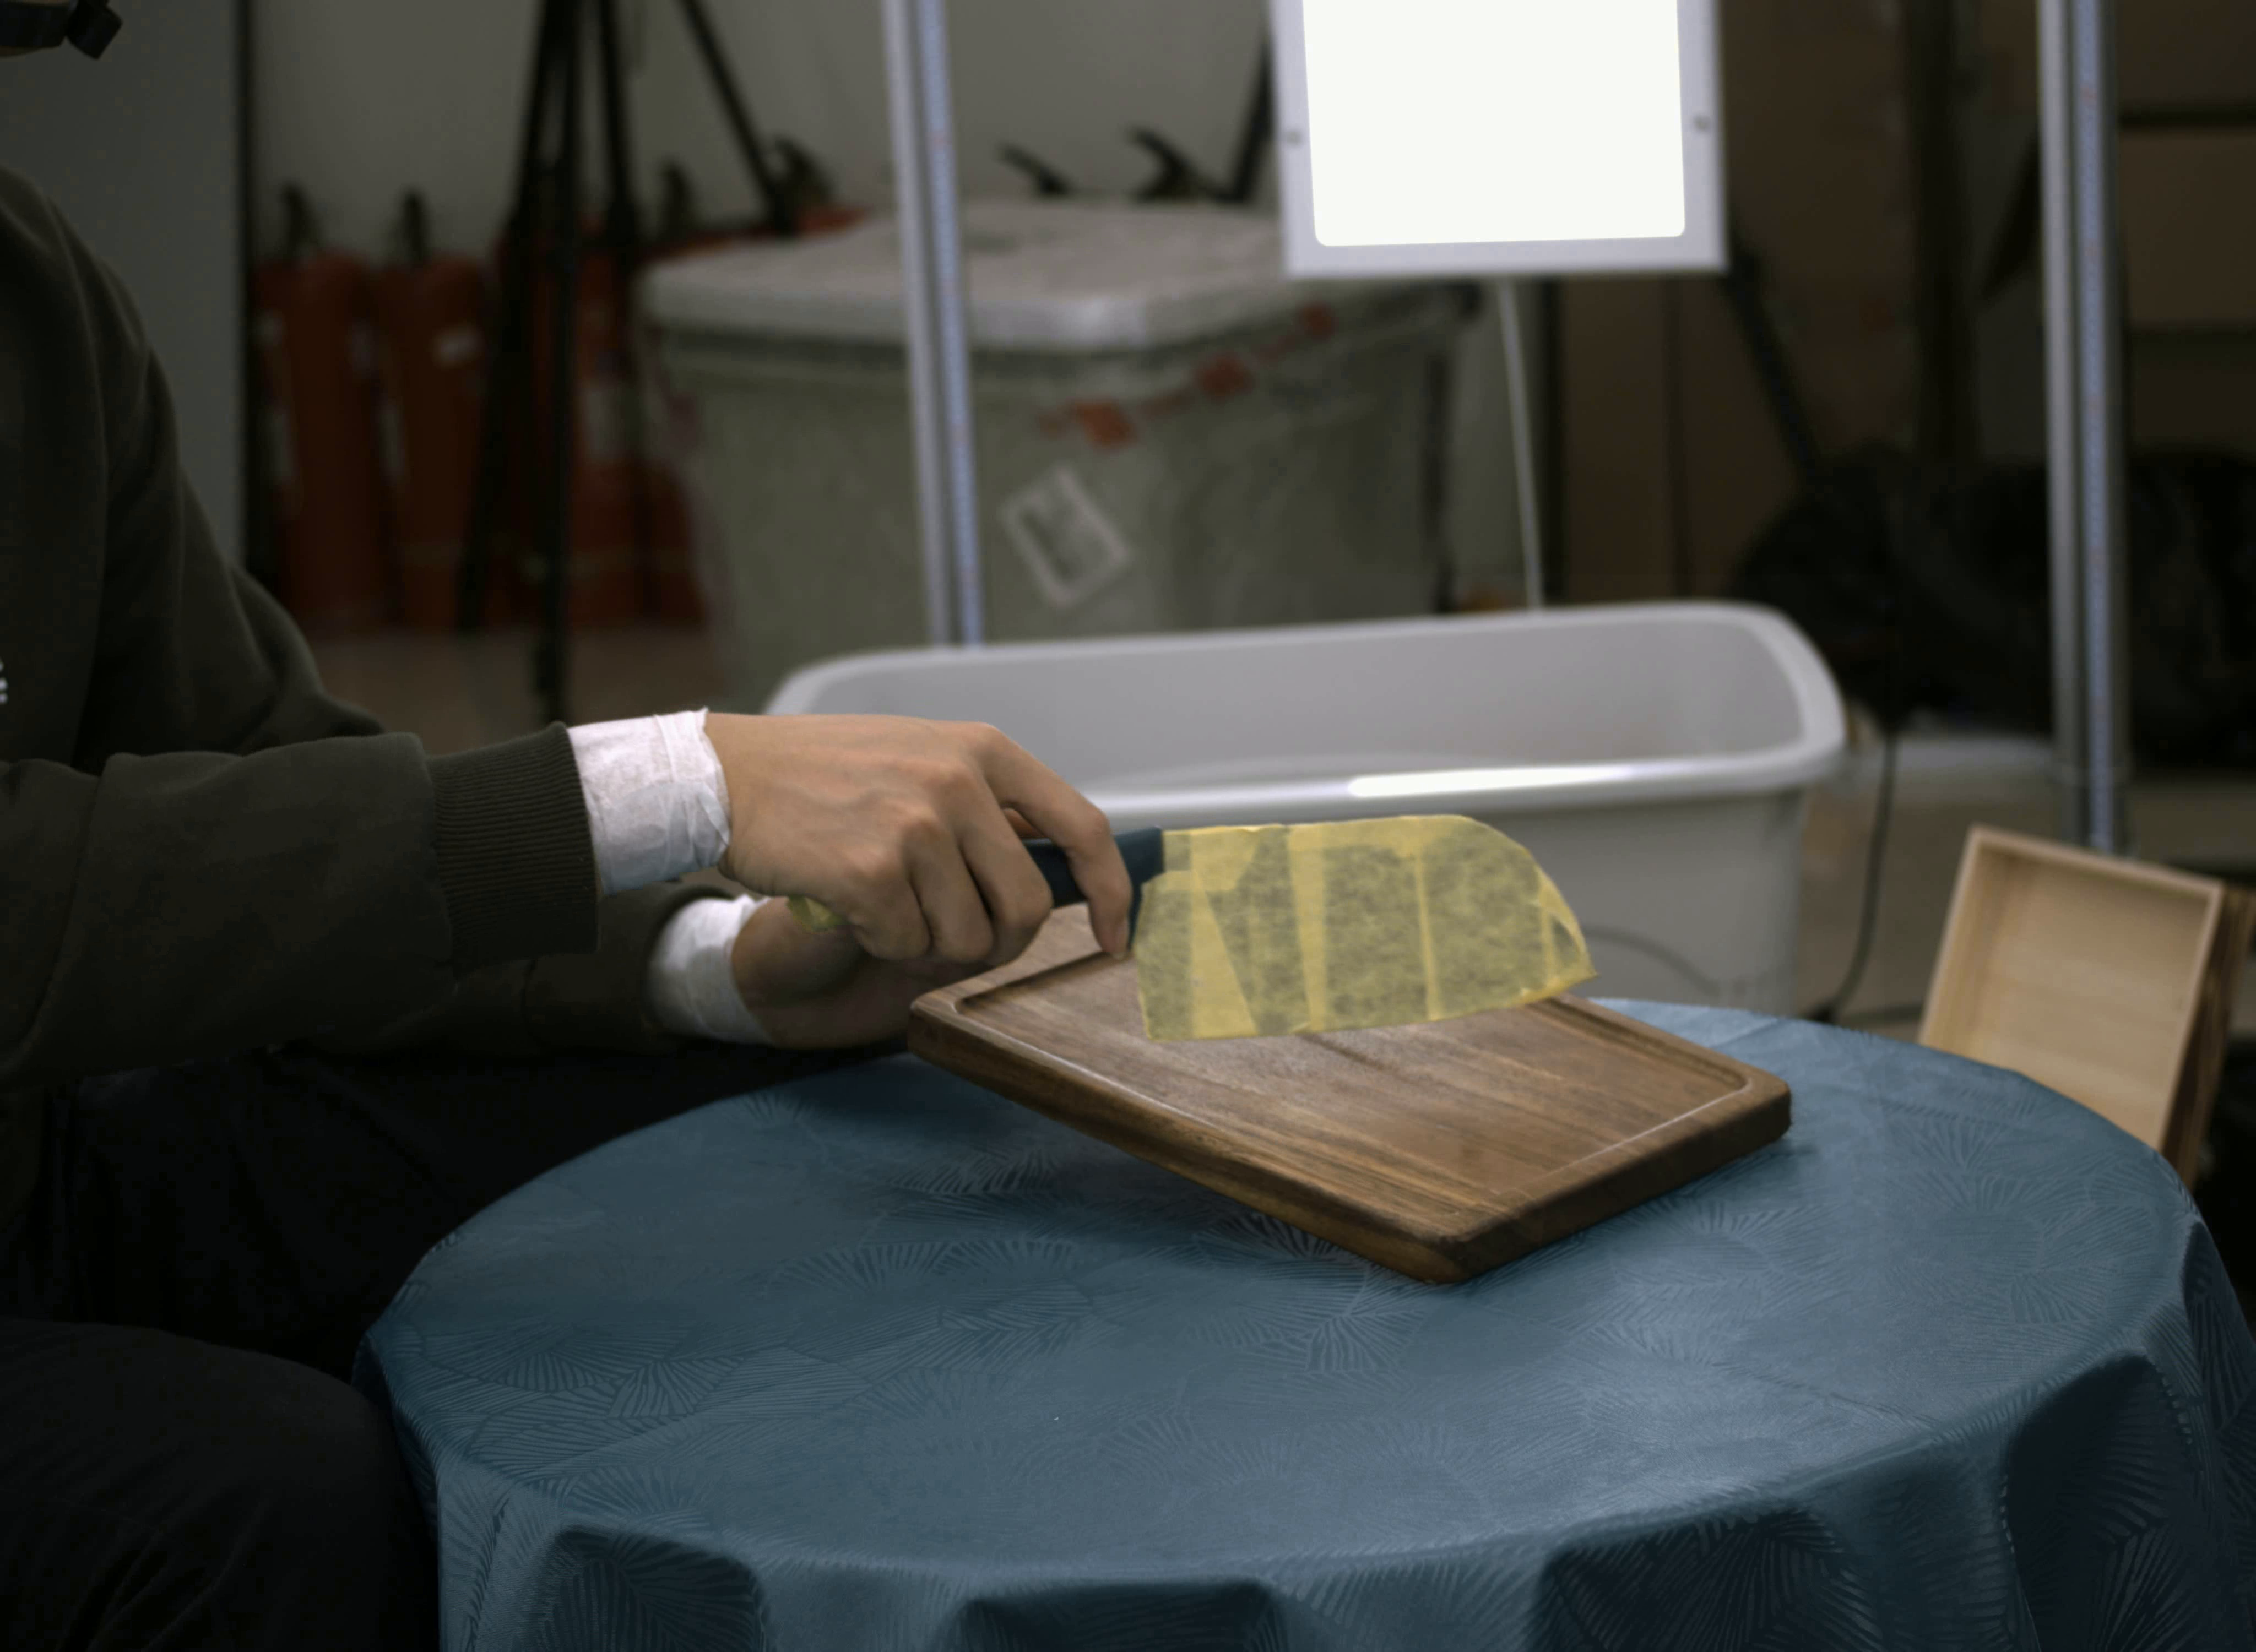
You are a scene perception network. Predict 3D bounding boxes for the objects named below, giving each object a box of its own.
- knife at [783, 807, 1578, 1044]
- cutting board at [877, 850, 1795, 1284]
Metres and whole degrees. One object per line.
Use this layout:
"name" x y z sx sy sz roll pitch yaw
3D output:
"knife" 0.022 0.034 1.883 0.285 0.081 0.027 -1 -10 -16
"cutting board" 0.041 0.069 1.941 0.359 0.023 0.196 21 28 39
